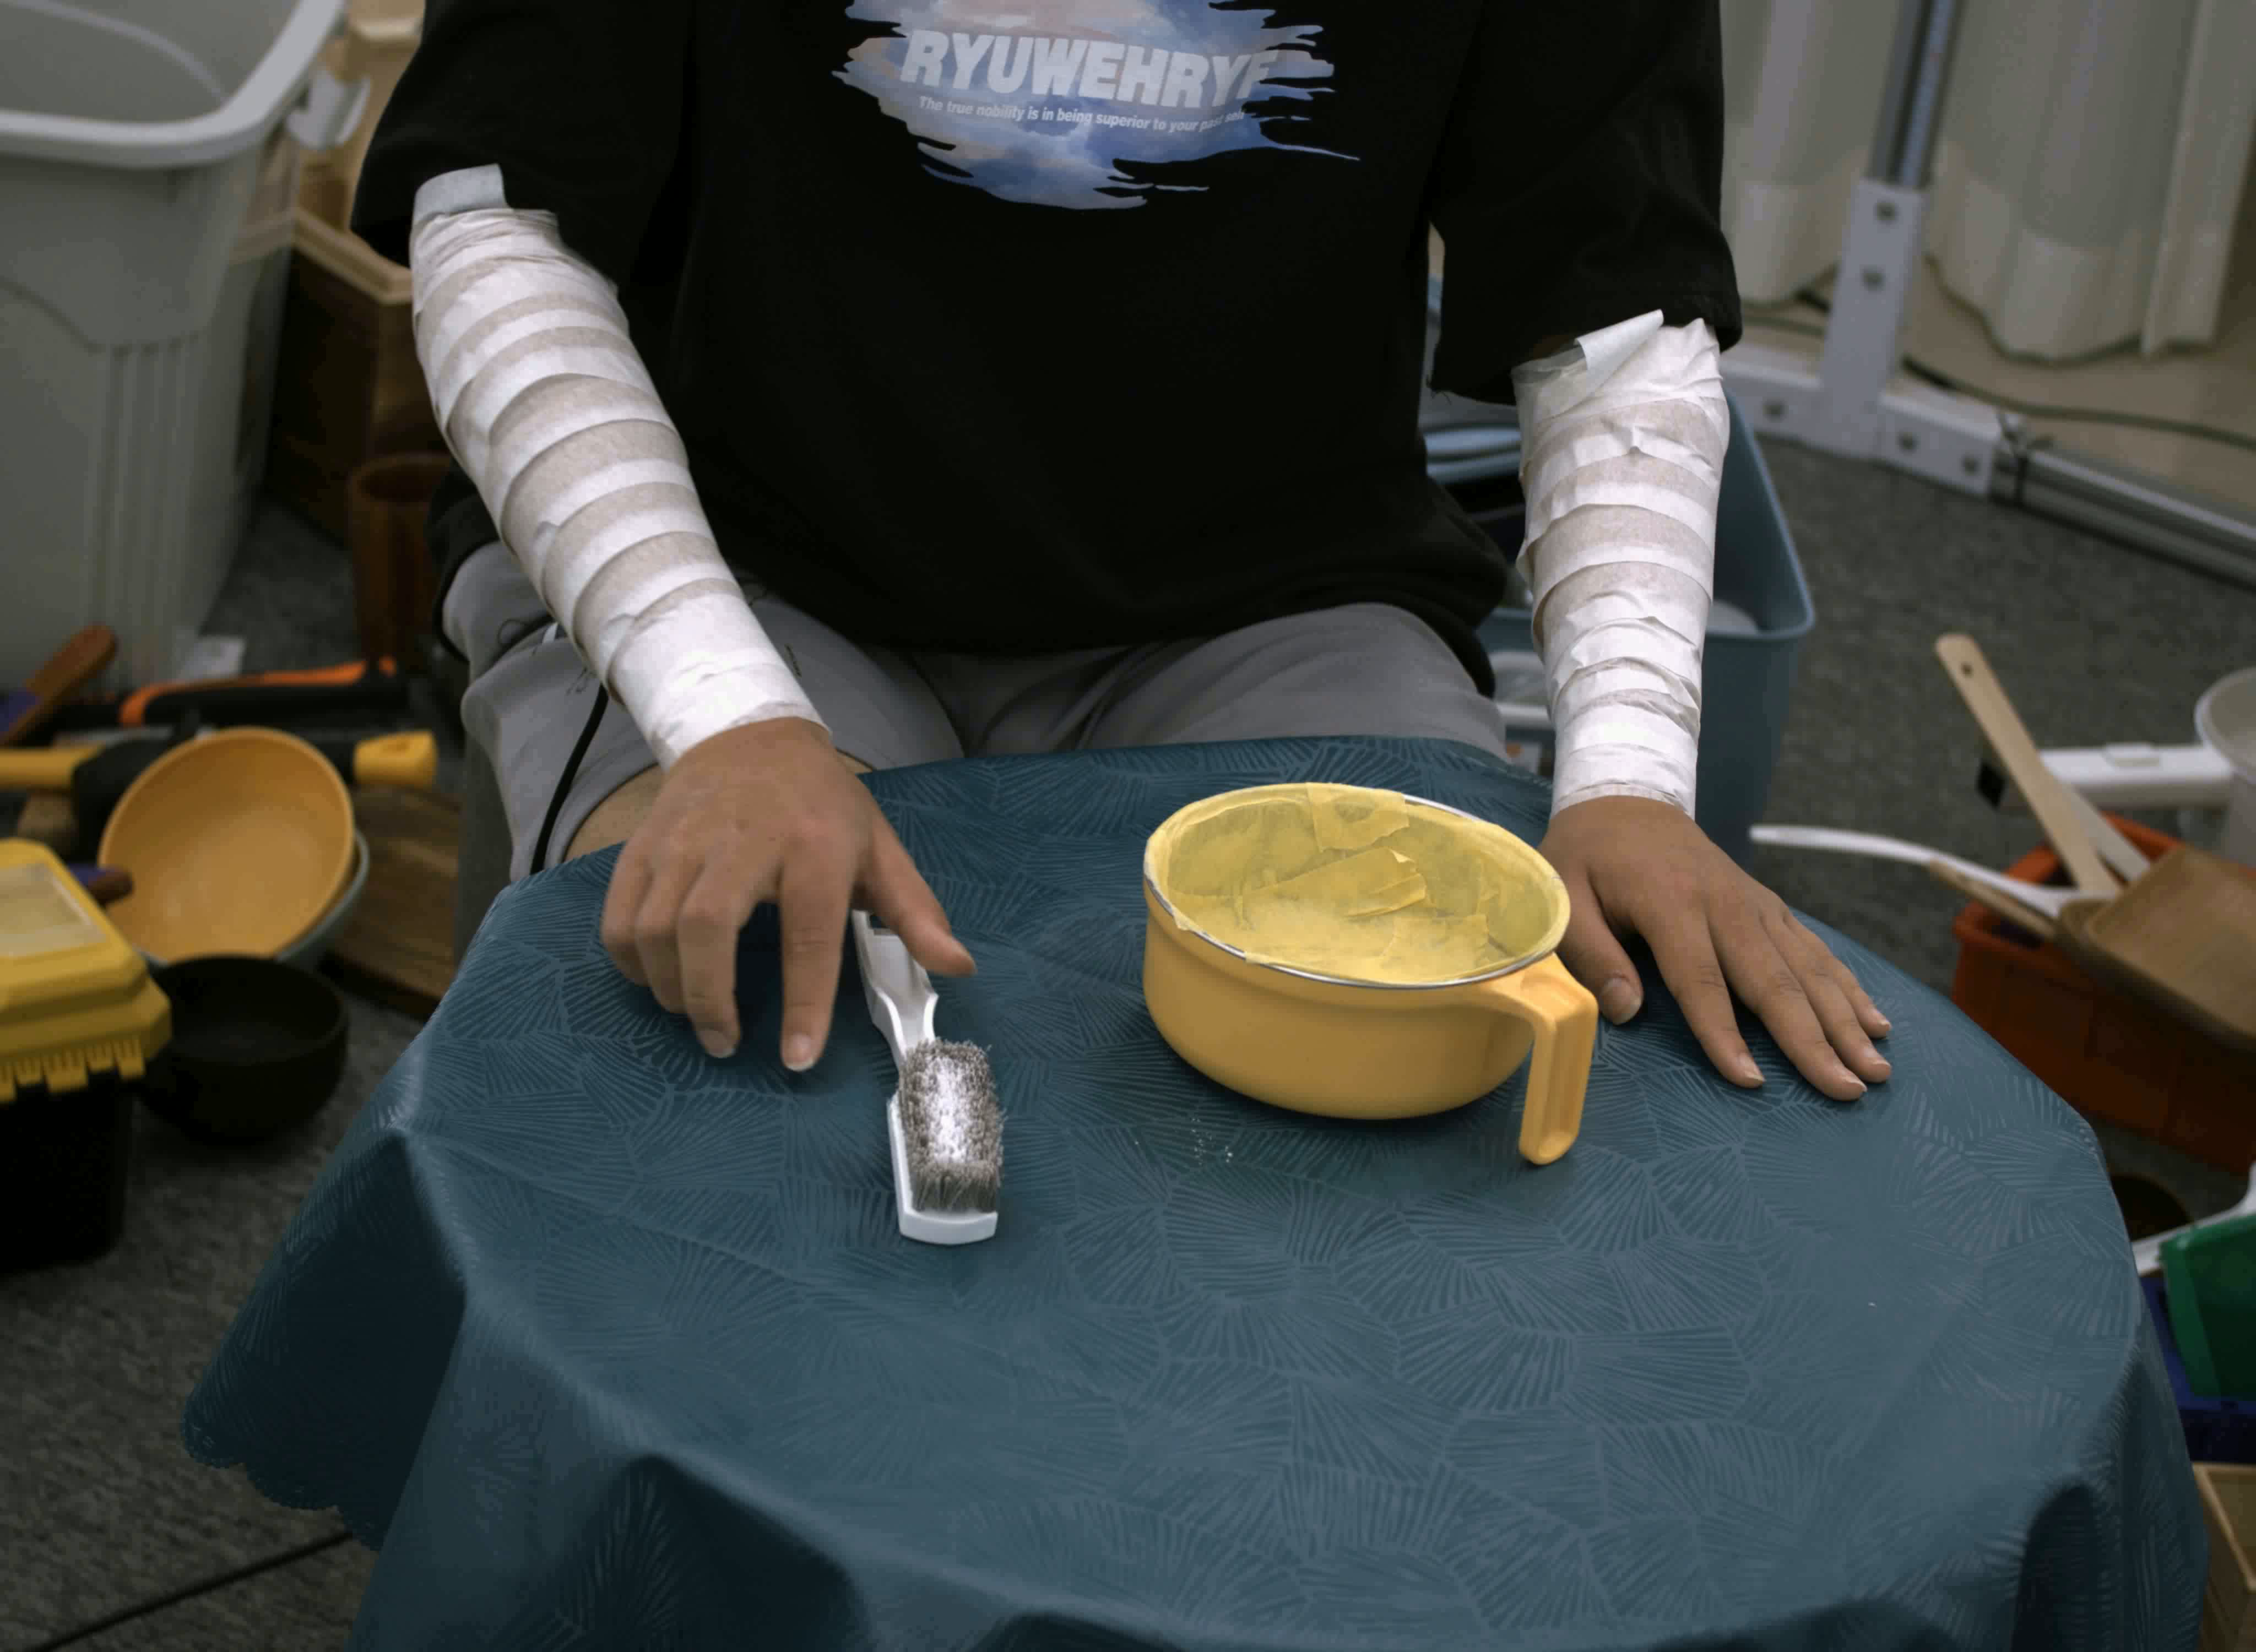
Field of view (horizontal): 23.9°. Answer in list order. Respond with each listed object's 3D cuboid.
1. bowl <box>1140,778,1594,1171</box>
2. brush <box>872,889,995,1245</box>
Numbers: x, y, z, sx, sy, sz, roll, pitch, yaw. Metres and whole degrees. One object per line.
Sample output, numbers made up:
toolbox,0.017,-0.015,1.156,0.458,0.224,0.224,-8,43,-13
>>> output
bowl,0.086,0.053,1.888,0.180,0.074,0.152,27,28,33
brush,-0.070,0.066,1.847,0.034,0.050,0.245,2,28,-7
